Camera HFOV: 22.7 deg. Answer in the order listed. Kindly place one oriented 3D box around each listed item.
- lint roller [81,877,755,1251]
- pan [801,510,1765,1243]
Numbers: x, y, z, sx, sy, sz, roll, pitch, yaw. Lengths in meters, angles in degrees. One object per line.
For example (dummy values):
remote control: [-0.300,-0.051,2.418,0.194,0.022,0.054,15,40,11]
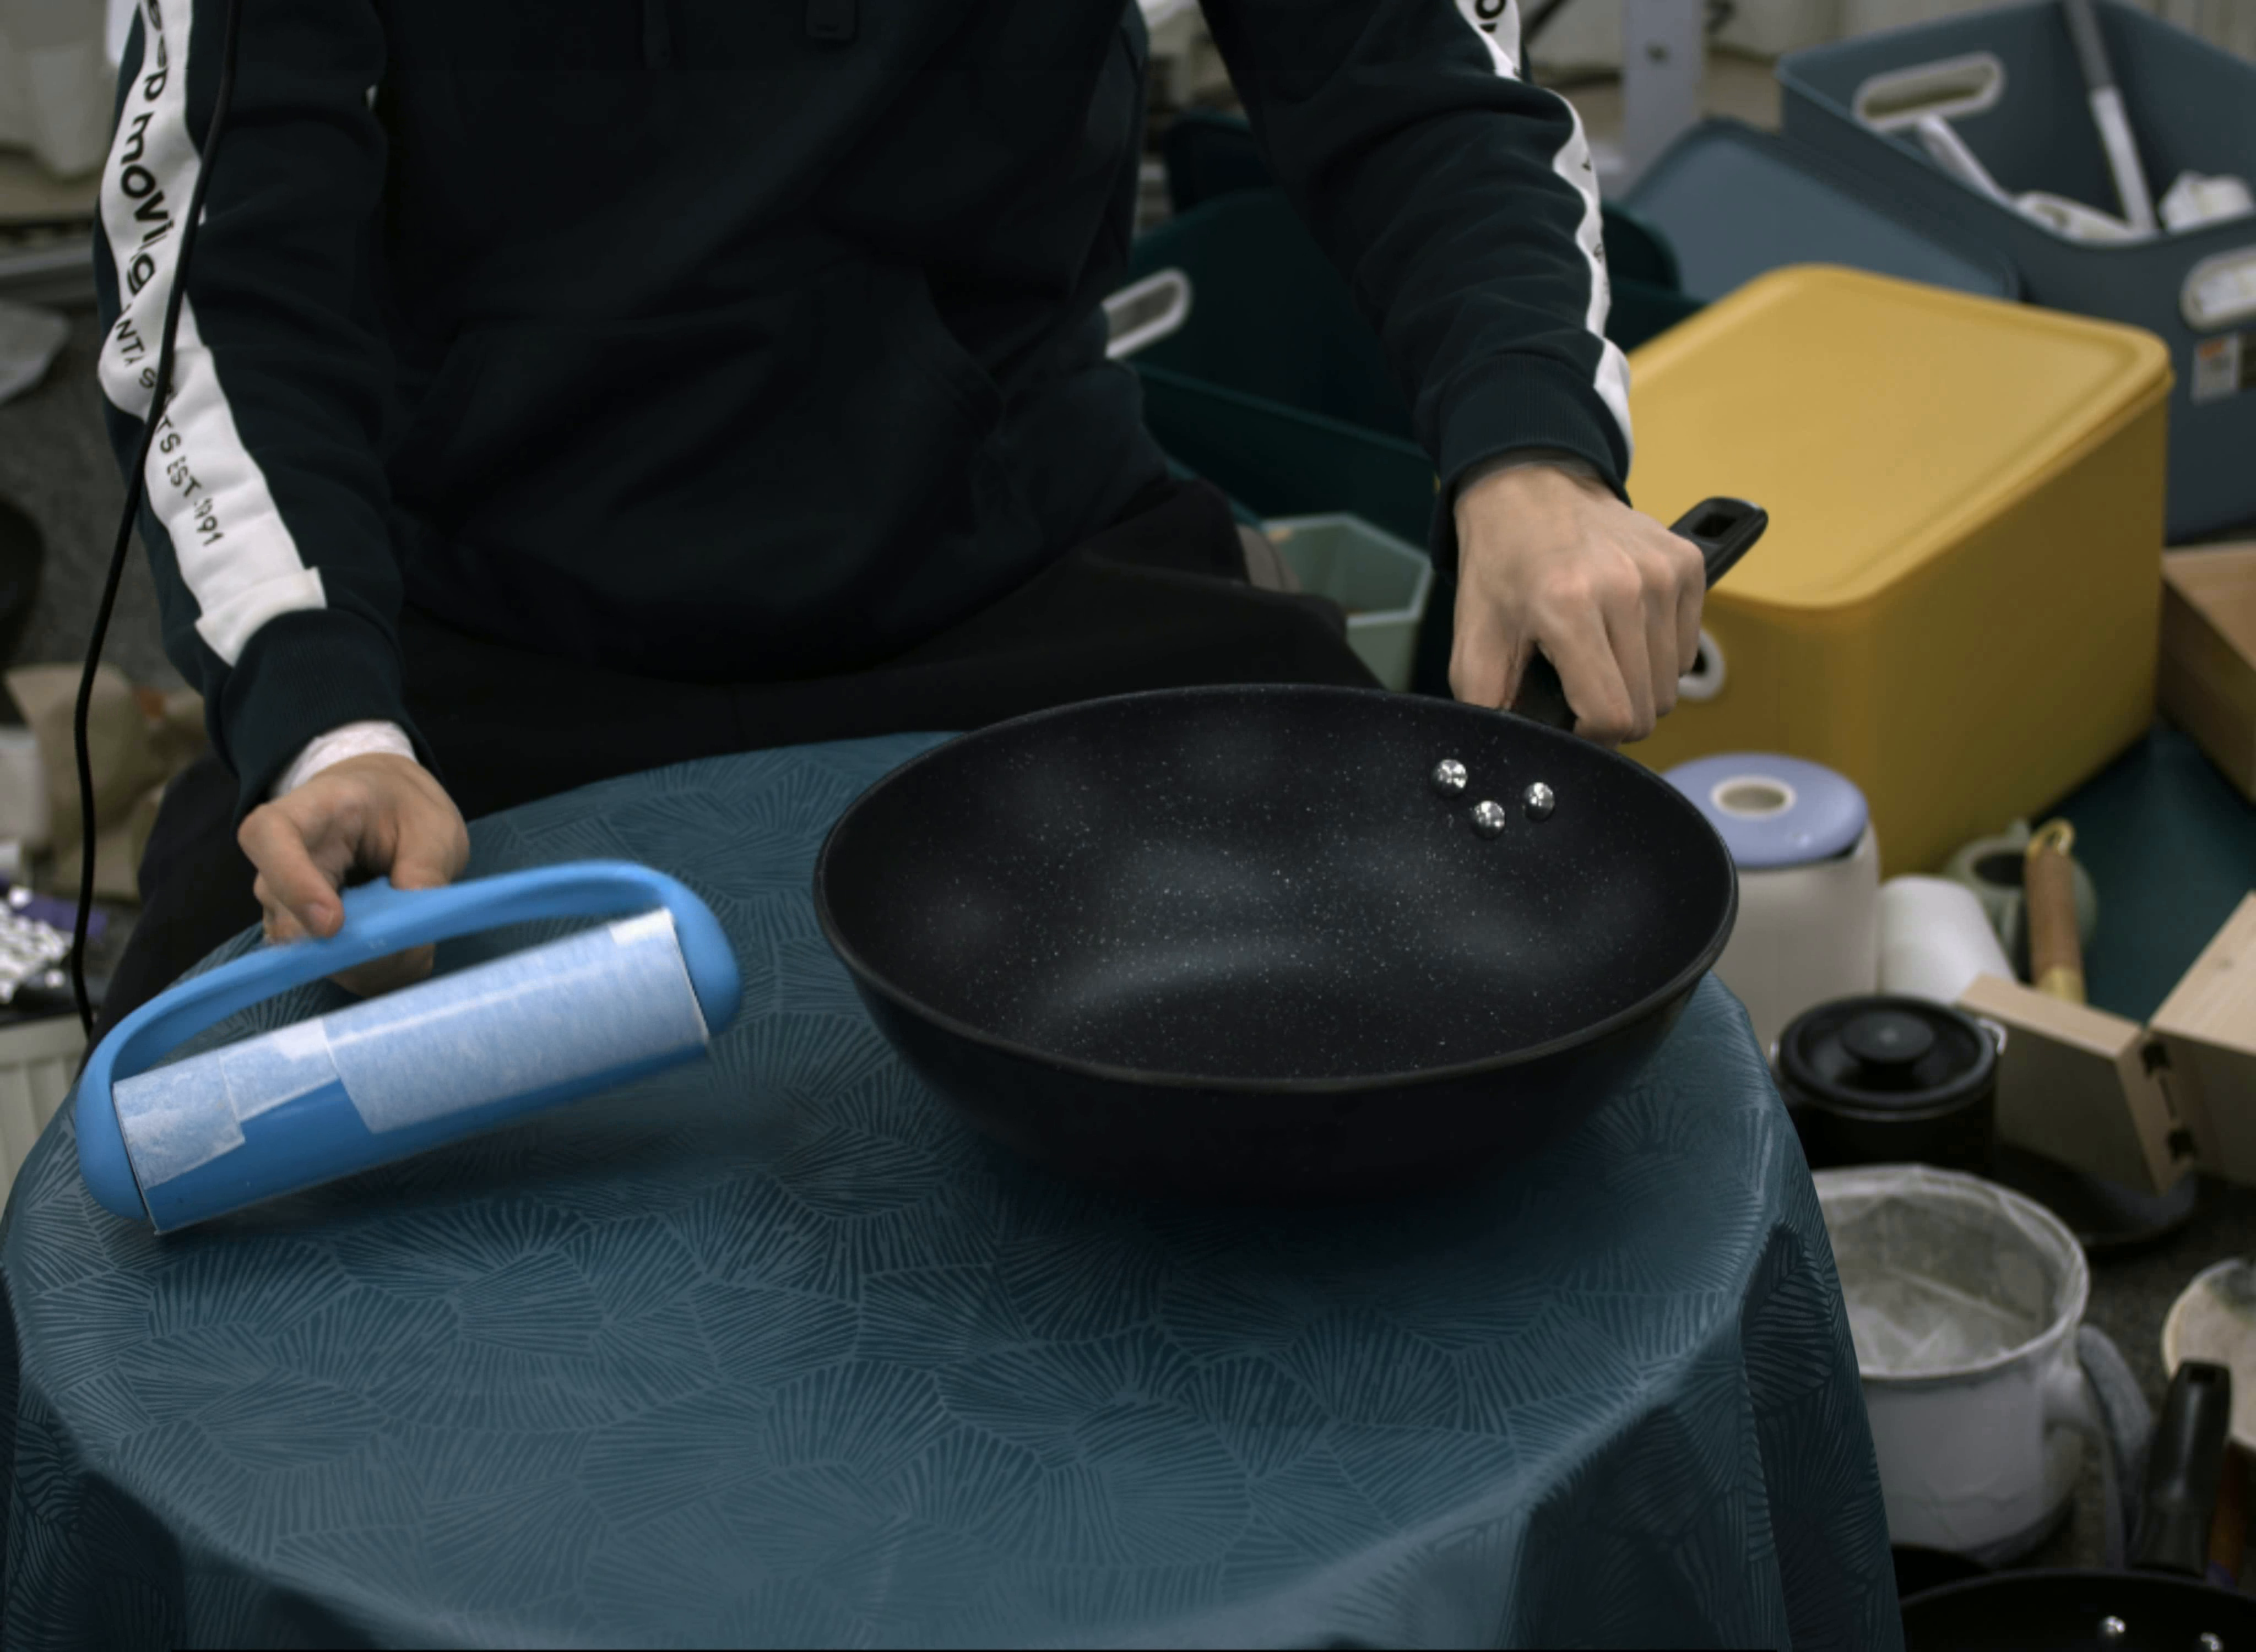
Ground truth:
lint roller: [-0.252,0.060,1.915,0.229,0.067,0.182,-20,30,-11]
pan: [0.092,0.017,1.940,0.309,0.110,0.484,17,30,29]
